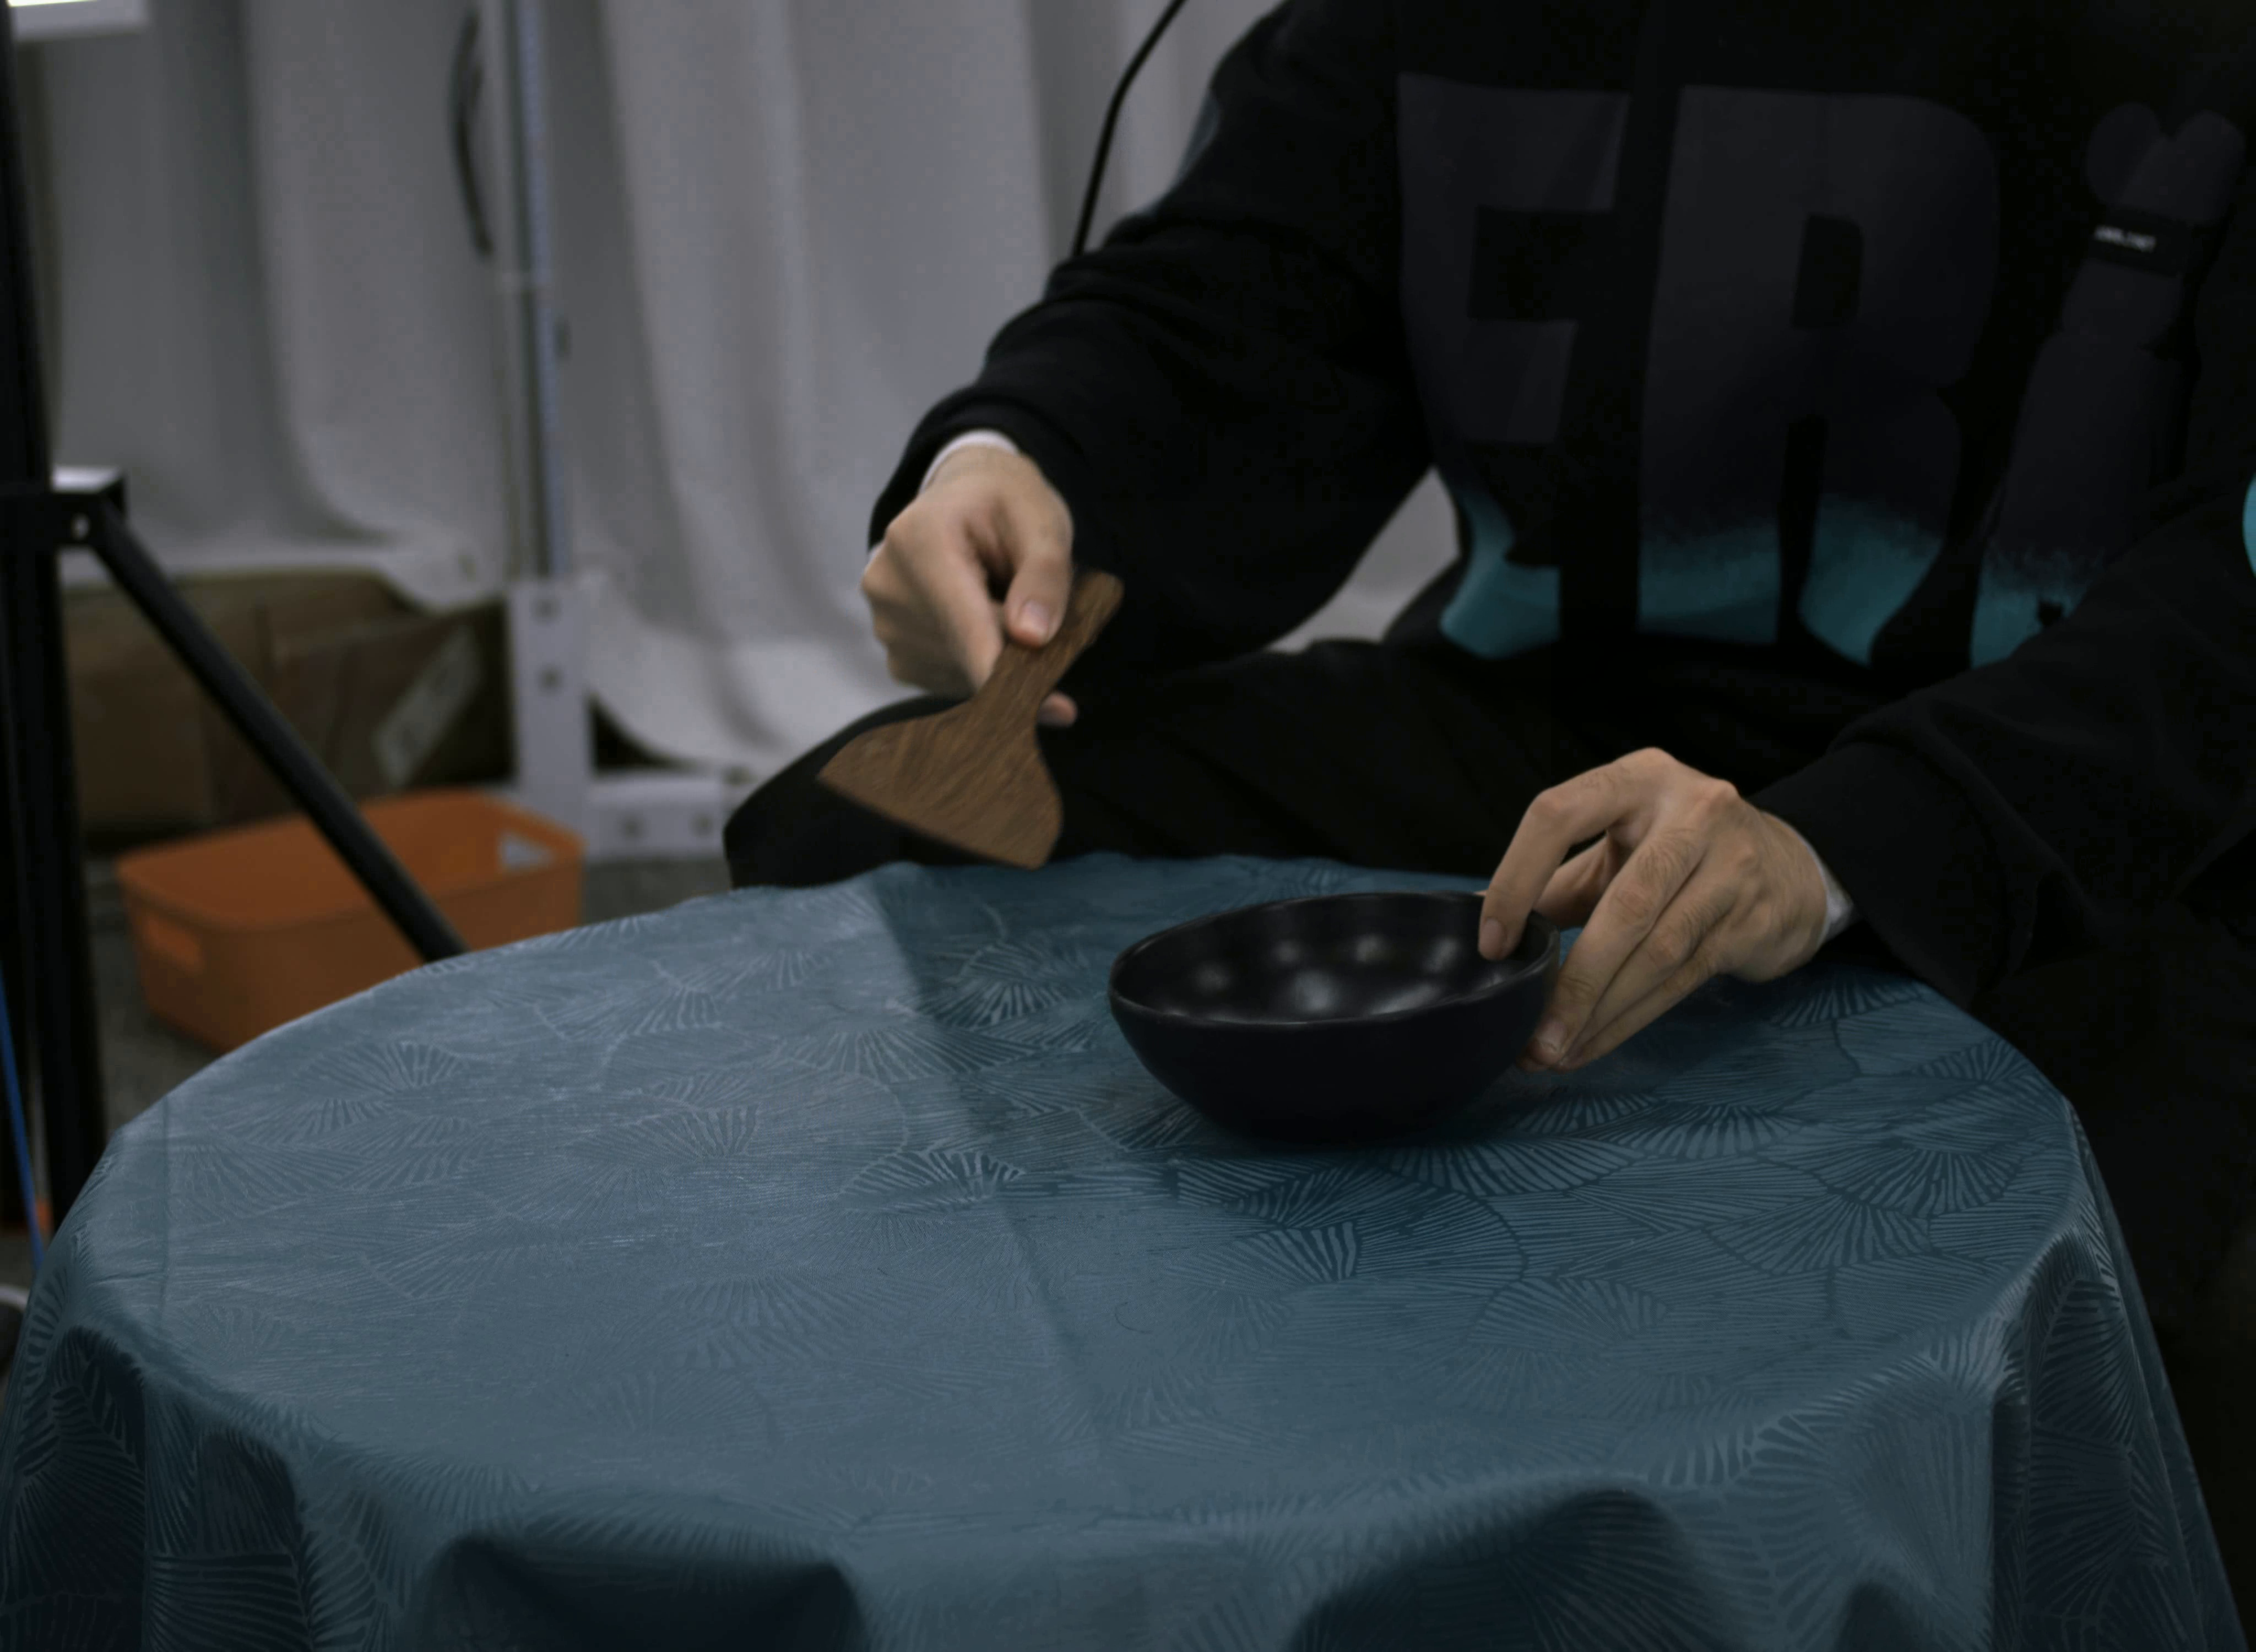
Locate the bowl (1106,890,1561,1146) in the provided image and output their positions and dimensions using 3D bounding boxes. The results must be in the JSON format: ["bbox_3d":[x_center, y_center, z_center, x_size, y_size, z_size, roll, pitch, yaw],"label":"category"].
[{"bbox_3d":[0.065,0.063,1.611,0.139,0.050,0.140,-8,14,1],"label":"bowl"}]

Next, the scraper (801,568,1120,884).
[{"bbox_3d":[-0.041,-0.036,1.681,0.076,0.011,0.210,22,30,6],"label":"scraper"}]
